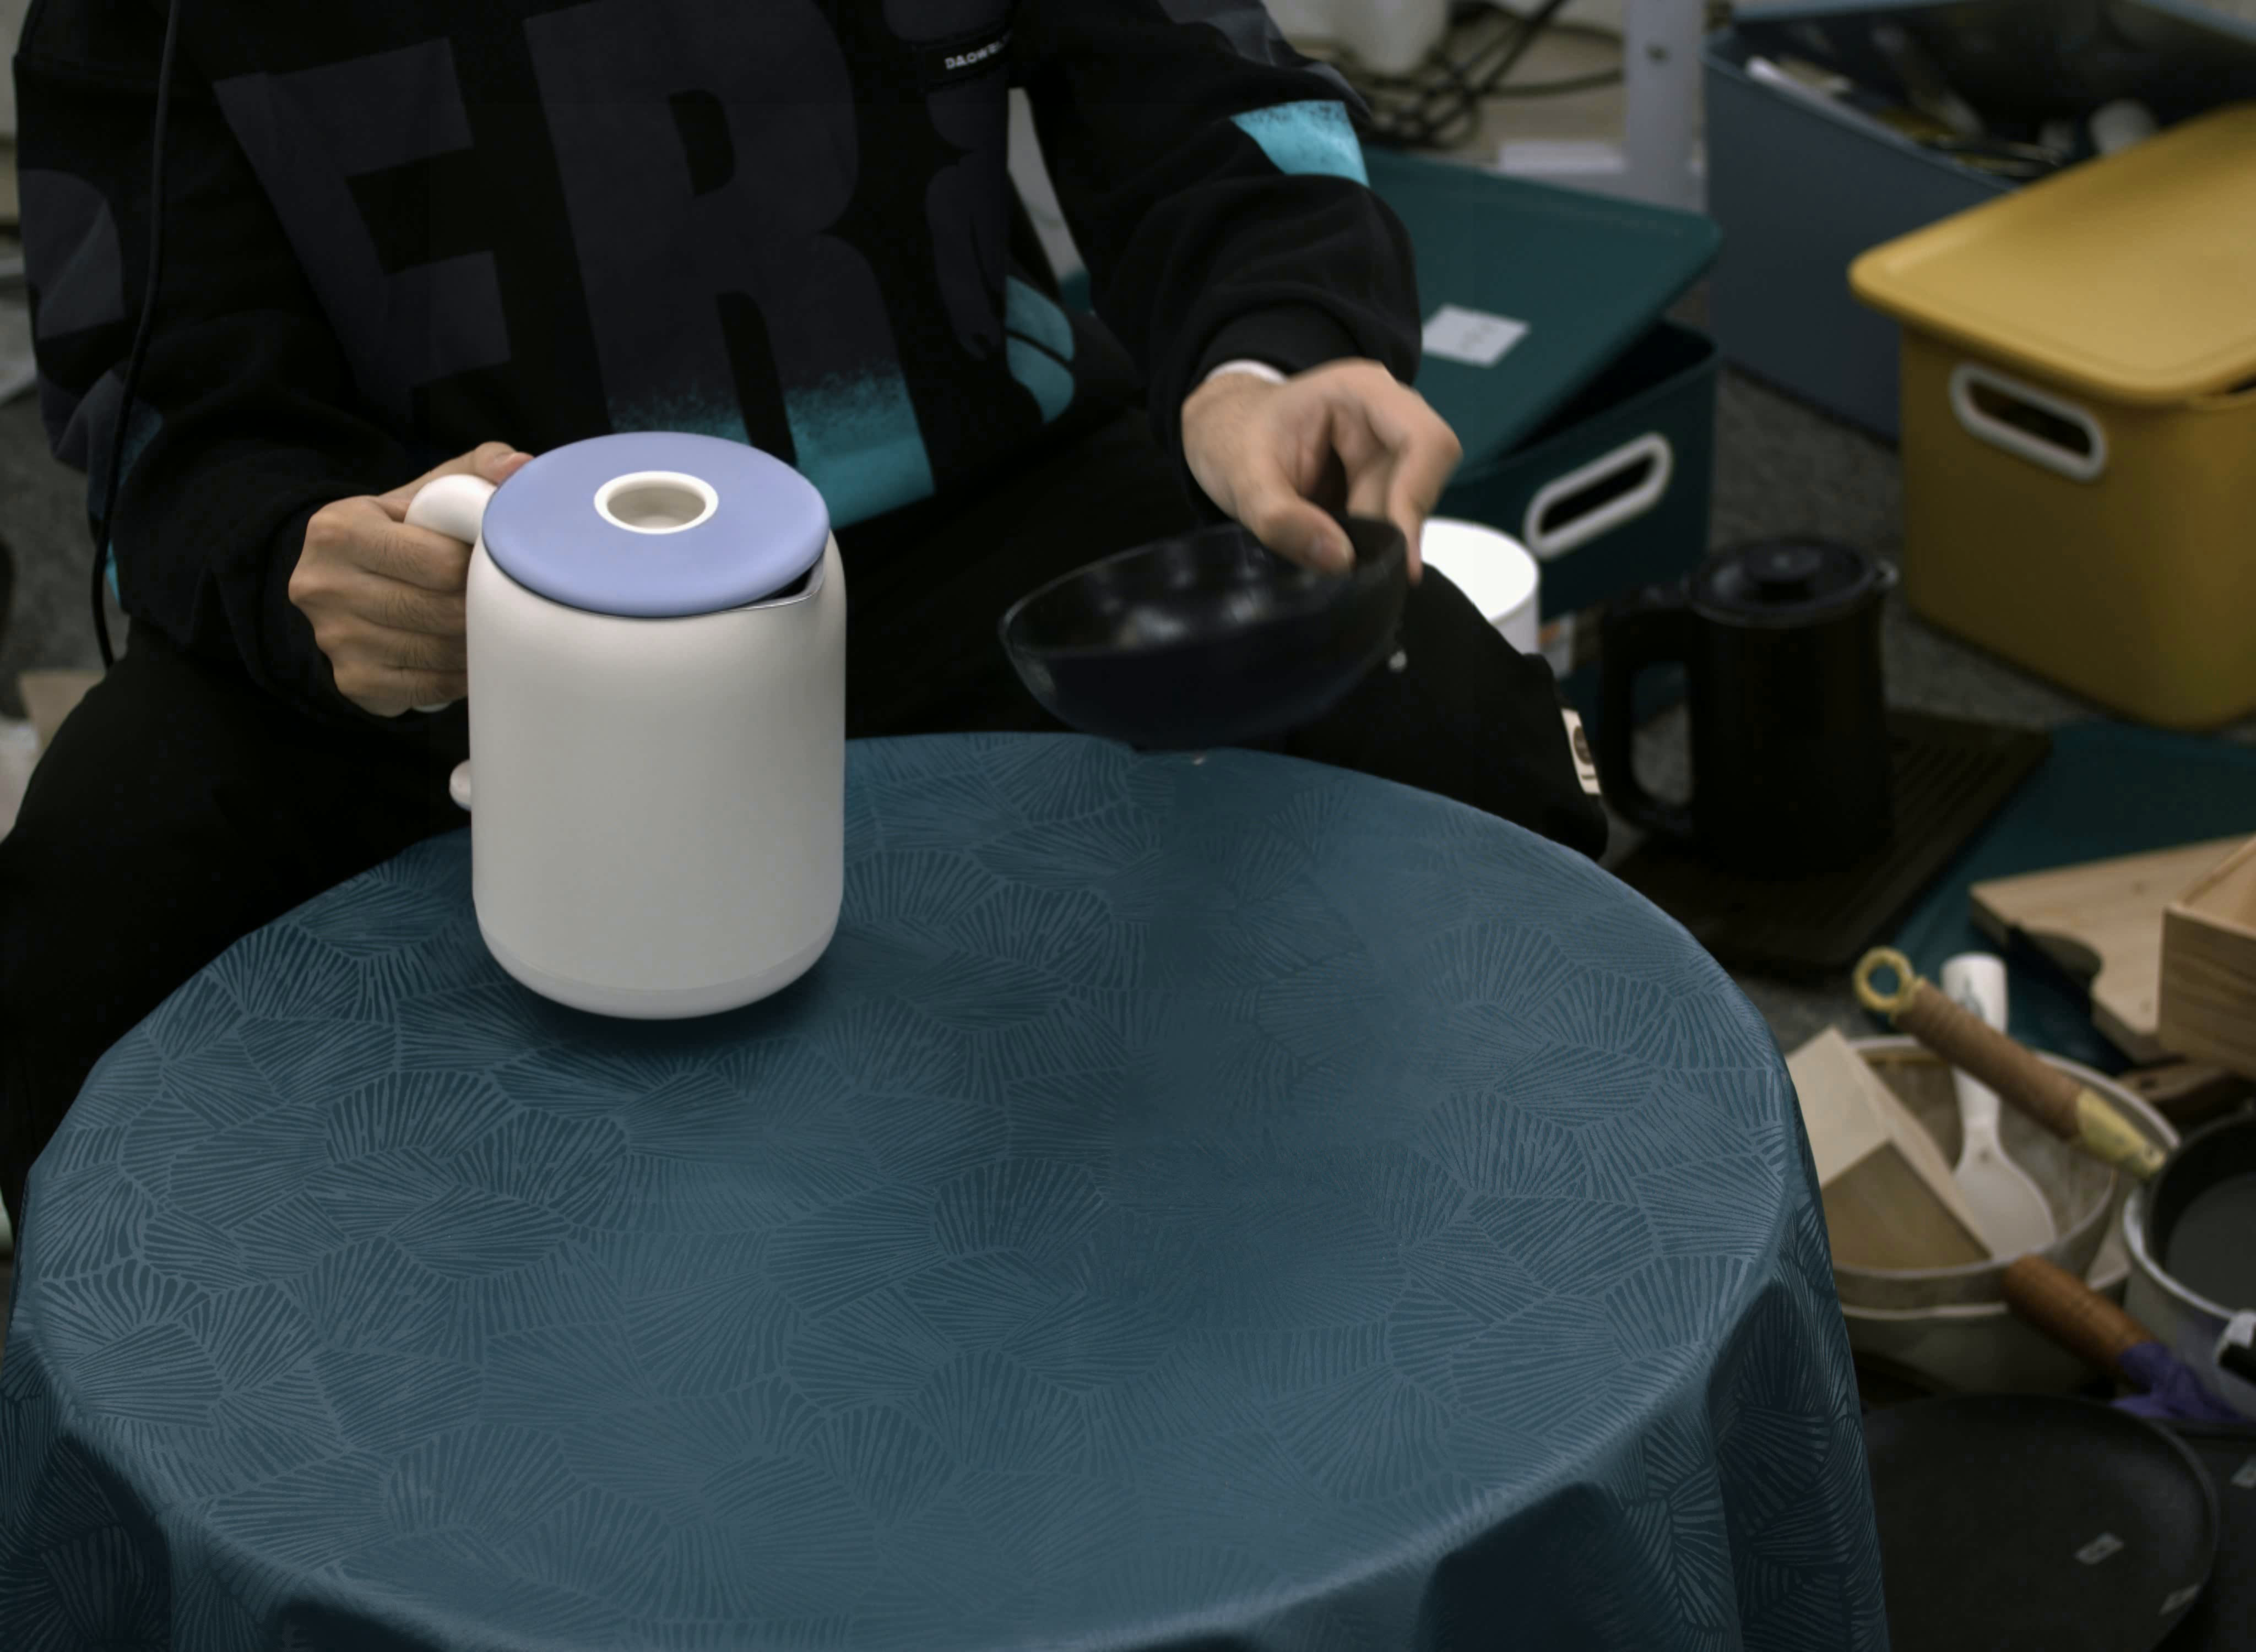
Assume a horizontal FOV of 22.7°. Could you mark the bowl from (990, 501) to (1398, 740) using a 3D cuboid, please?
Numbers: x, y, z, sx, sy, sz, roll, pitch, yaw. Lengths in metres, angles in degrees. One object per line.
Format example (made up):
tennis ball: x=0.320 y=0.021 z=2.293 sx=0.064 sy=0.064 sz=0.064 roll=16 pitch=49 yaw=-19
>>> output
bowl: x=0.027 y=-0.063 z=1.856 sx=0.139 sy=0.049 sz=0.141 roll=-15 pitch=11 yaw=3

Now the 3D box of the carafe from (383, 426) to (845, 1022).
carafe: x=-0.184 y=-0.043 z=1.963 sx=0.190 sy=0.180 sz=0.134 roll=19 pitch=34 yaw=29
